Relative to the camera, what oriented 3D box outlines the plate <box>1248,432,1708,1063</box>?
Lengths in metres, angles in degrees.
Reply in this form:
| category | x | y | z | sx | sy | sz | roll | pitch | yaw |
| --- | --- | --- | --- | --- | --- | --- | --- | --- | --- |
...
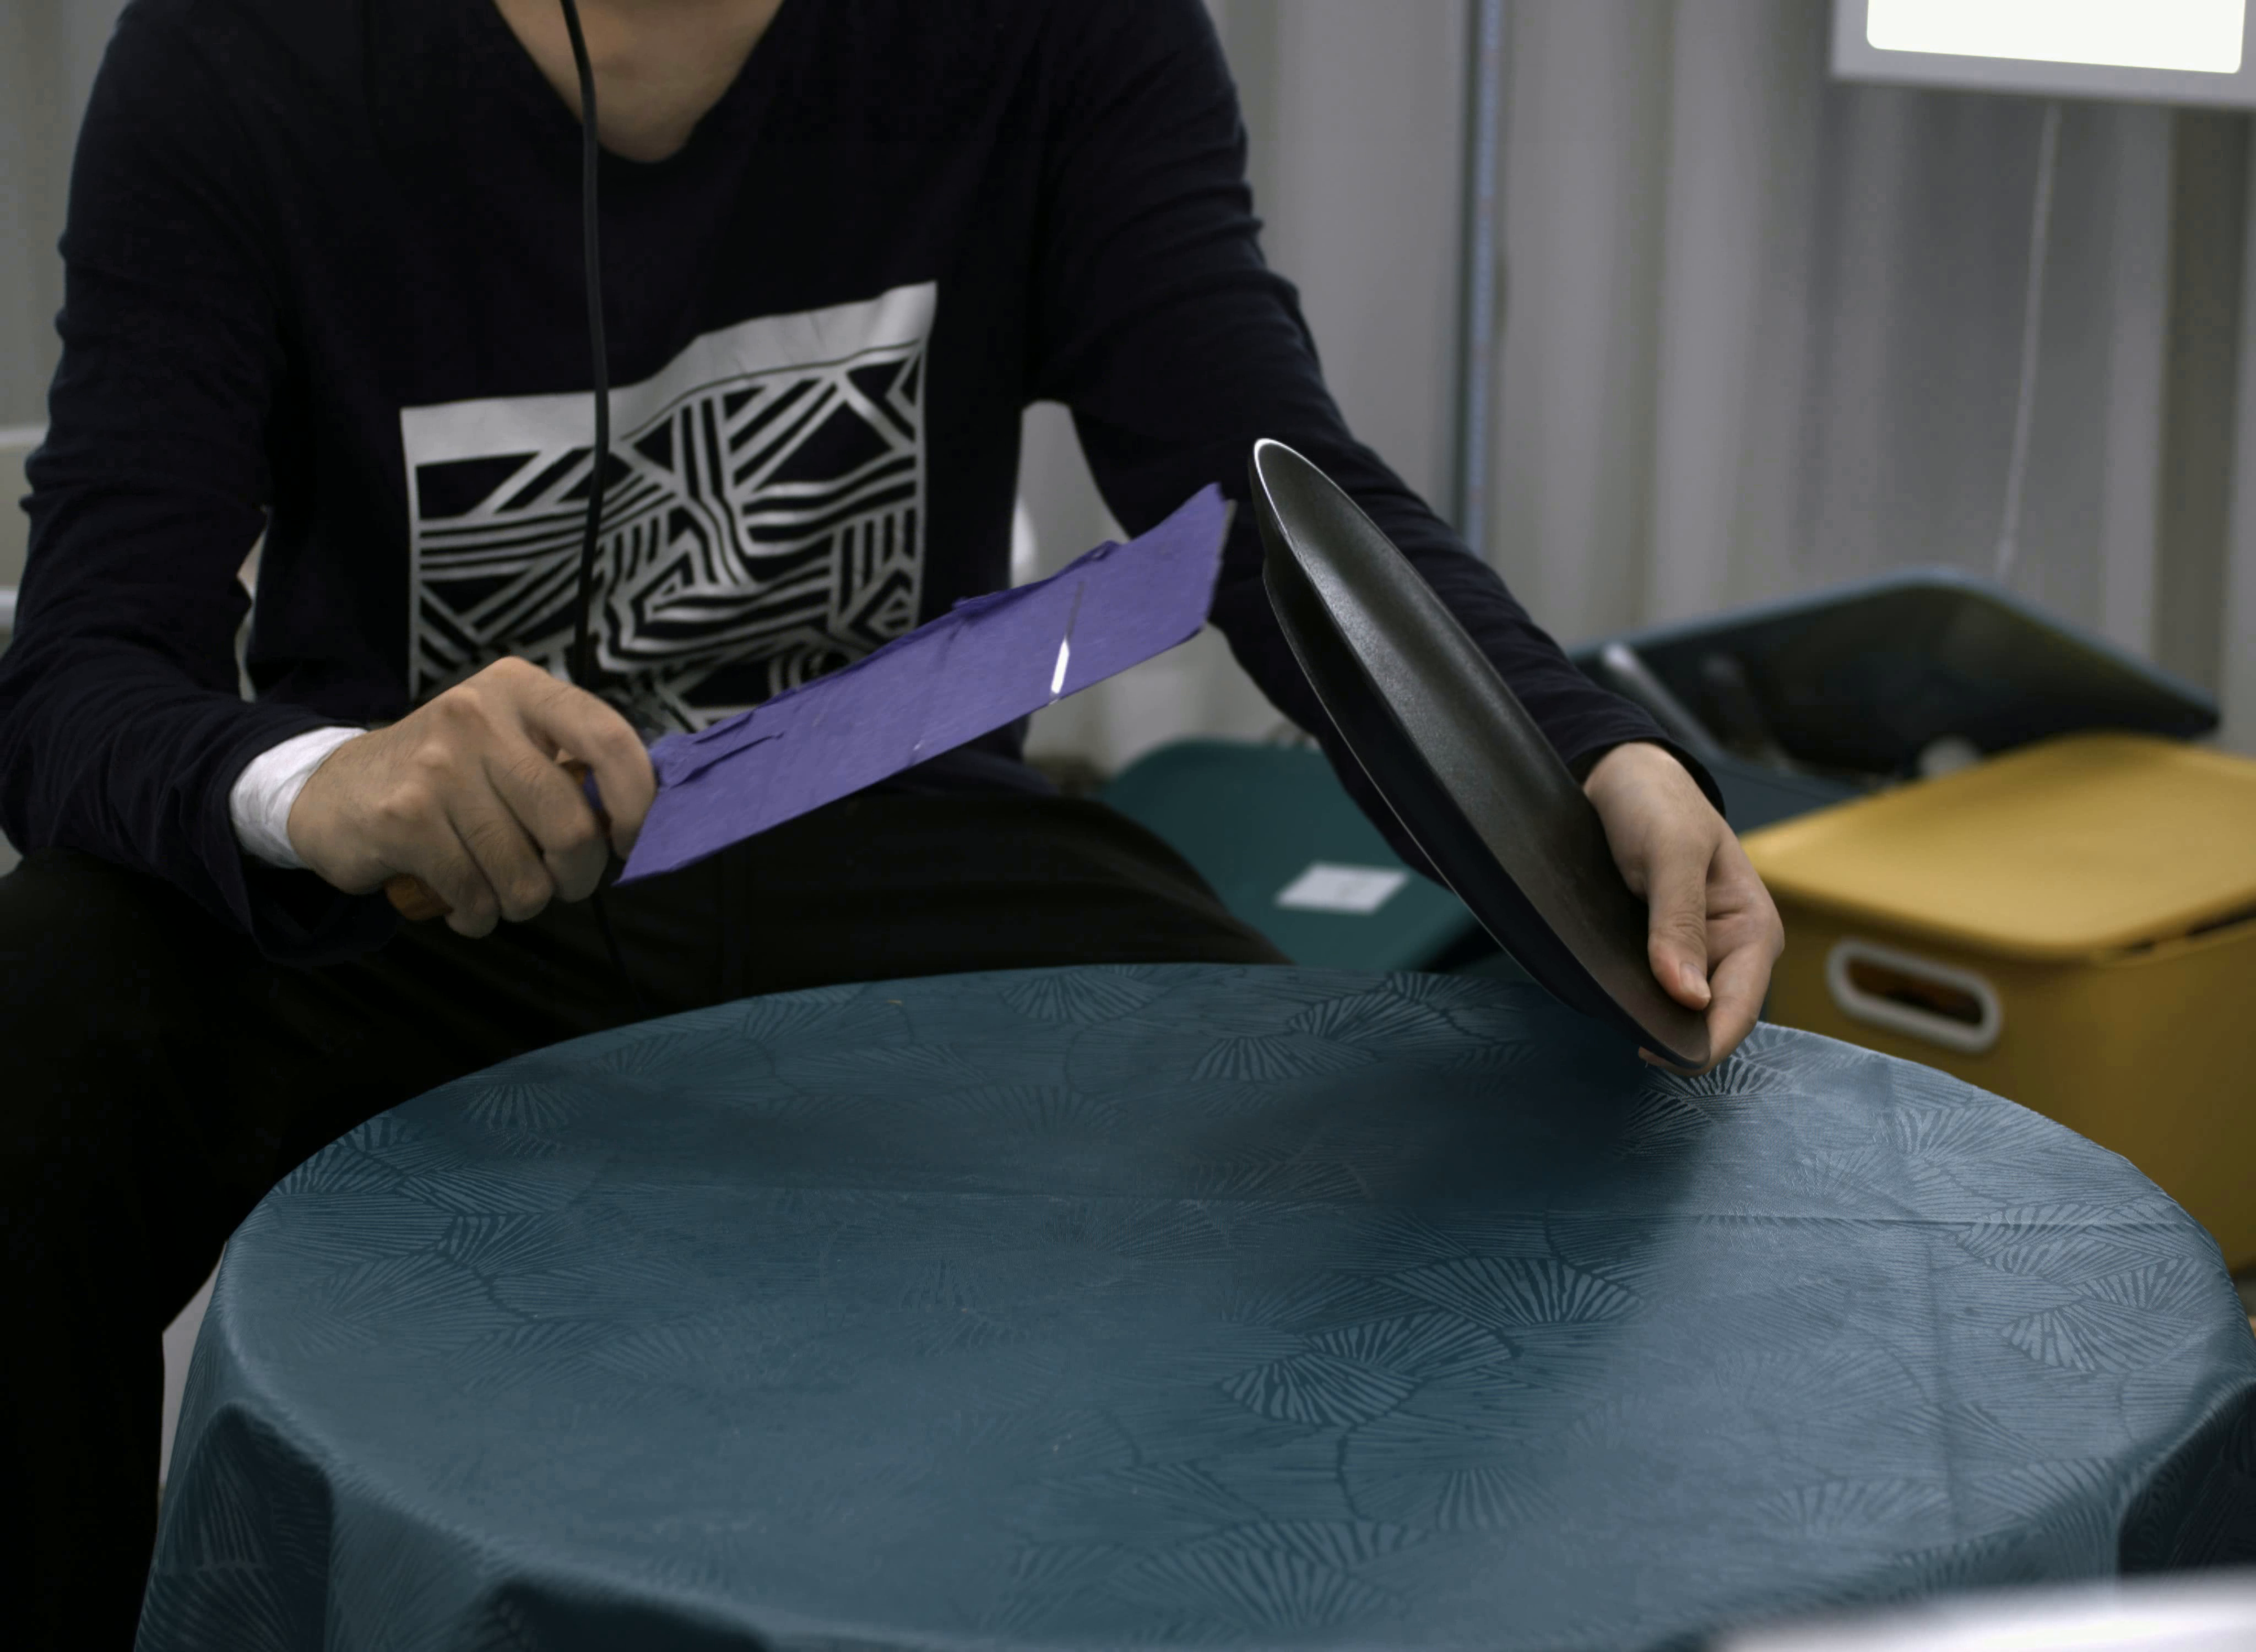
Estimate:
| category | x | y | z | sx | sy | sz | roll | pitch | yaw |
| --- | --- | --- | --- | --- | --- | --- | --- | --- | --- |
| plate | 0.105 | -0.021 | 1.673 | 0.023 | 0.246 | 0.243 | -35 | 11 | 12 |

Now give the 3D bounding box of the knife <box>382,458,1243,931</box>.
| category | x | y | z | sx | sy | sz | roll | pitch | yaw |
| --- | --- | --- | --- | --- | --- | --- | --- | --- | --- |
| knife | -0.104 | -0.028 | 1.615 | 0.314 | 0.032 | 0.103 | -26 | 22 | 20 |
